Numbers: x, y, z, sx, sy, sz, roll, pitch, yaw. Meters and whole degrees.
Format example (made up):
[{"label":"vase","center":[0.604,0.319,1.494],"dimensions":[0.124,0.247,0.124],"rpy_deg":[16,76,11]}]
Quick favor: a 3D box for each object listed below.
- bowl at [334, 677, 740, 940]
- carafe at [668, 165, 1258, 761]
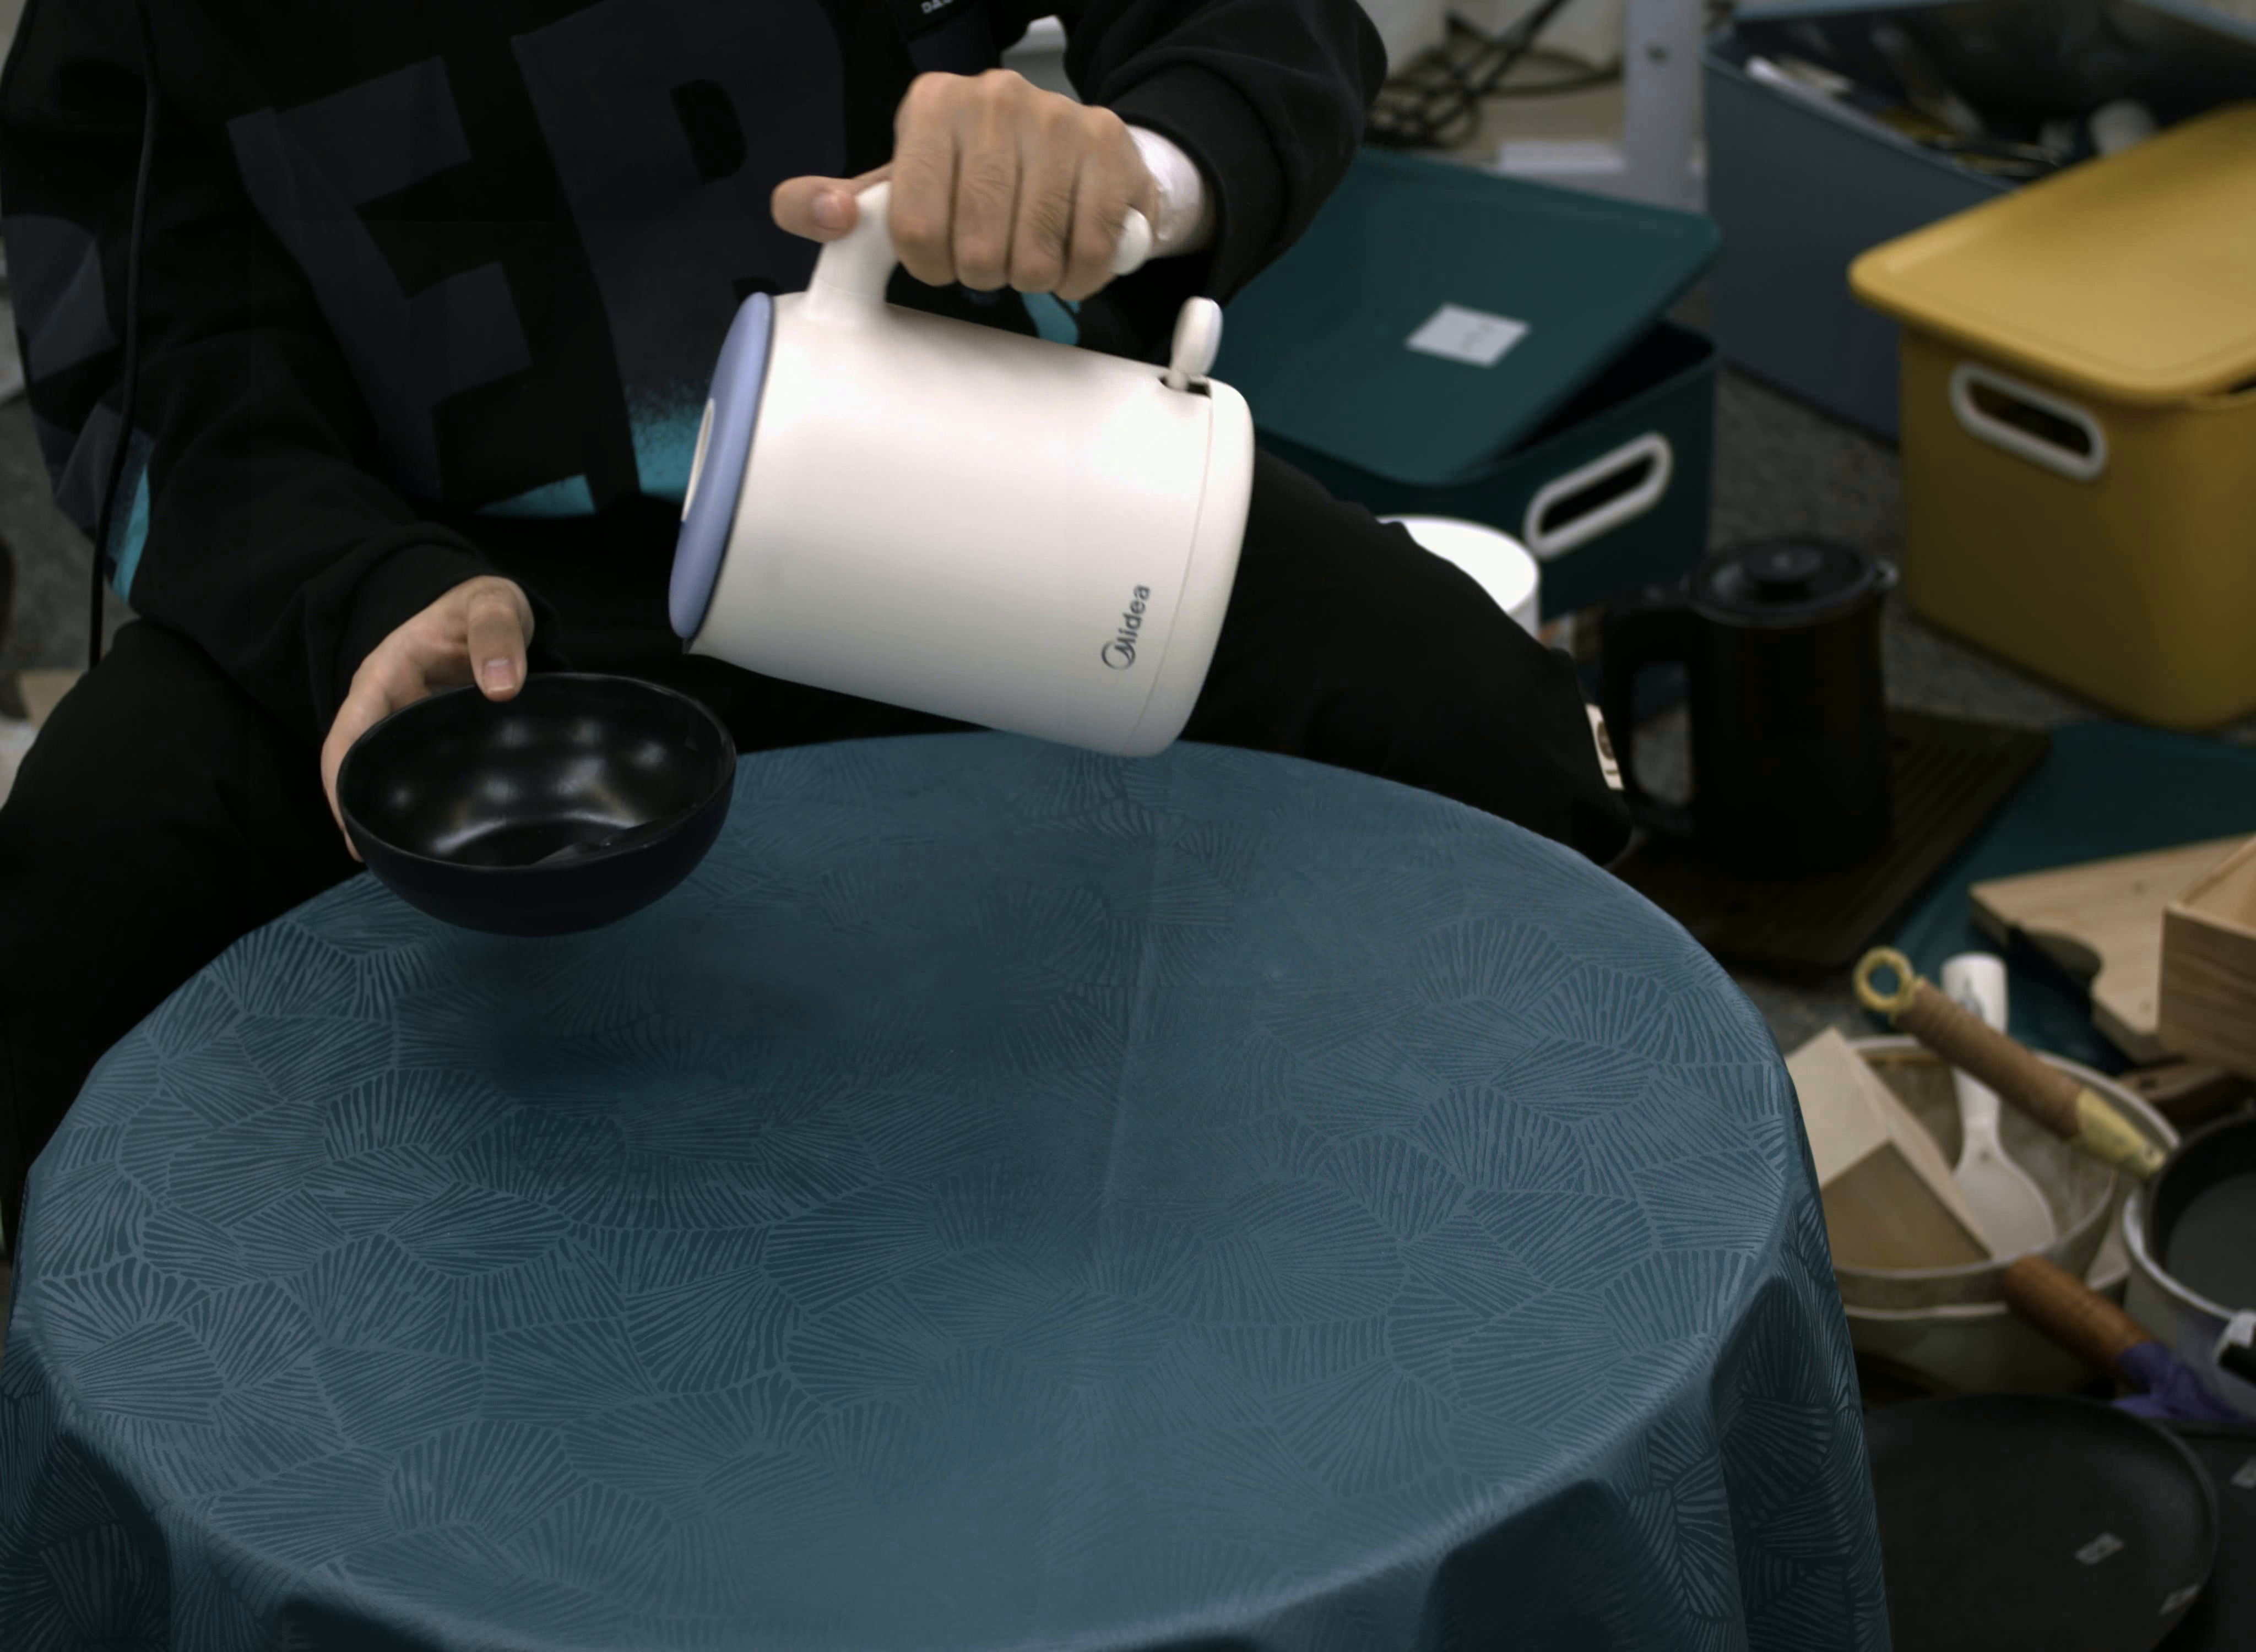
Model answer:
[{"label":"bowl","center":[-0.202,0.002,1.939],"dimensions":[0.139,0.049,0.142],"rpy_deg":[-1,28,1]},{"label":"carafe","center":[-0.048,-0.125,1.876],"dimensions":[0.182,0.189,0.134],"rpy_deg":[15,19,-11]}]
